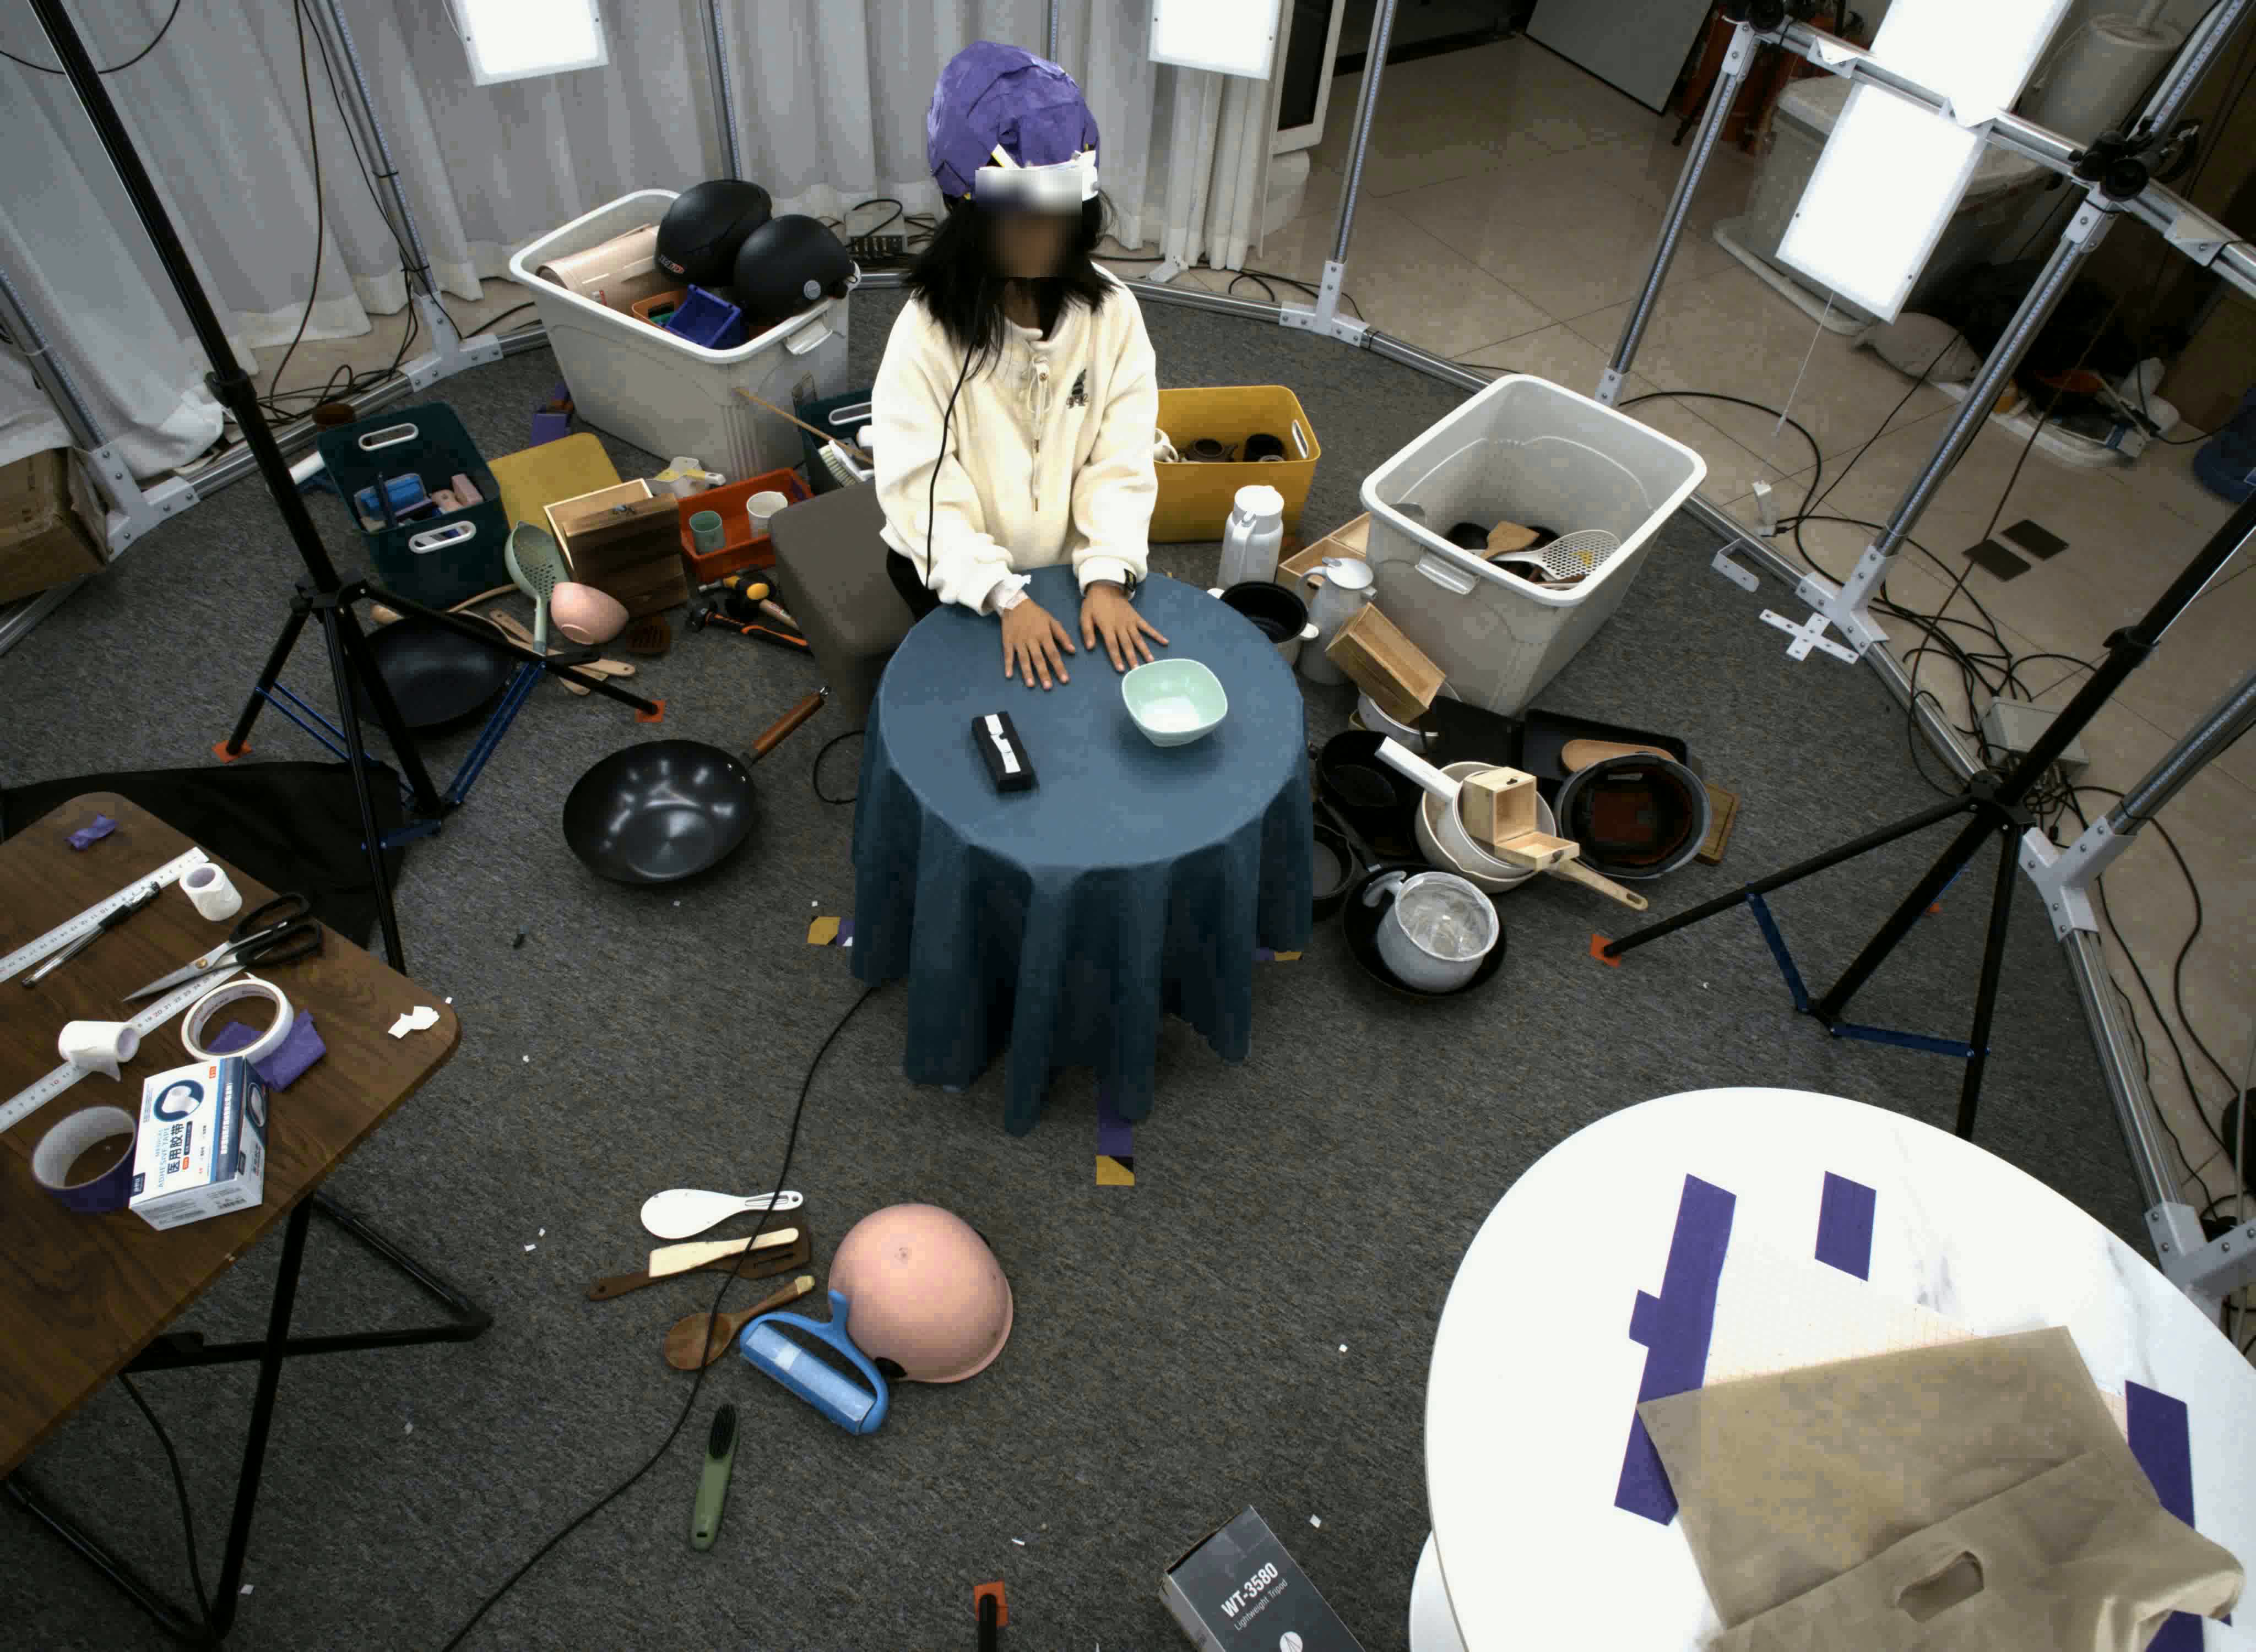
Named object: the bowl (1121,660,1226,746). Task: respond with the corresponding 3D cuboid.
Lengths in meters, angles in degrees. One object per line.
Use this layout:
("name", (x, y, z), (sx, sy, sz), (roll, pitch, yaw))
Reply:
("bowl", (0.059, -0.162, 1.779), (0.151, 0.057, 0.155), (4, 49, -4))

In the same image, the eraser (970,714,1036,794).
("eraser", (-0.169, -0.097, 1.726), (0.053, 0.030, 0.128), (-14, 49, -17))
